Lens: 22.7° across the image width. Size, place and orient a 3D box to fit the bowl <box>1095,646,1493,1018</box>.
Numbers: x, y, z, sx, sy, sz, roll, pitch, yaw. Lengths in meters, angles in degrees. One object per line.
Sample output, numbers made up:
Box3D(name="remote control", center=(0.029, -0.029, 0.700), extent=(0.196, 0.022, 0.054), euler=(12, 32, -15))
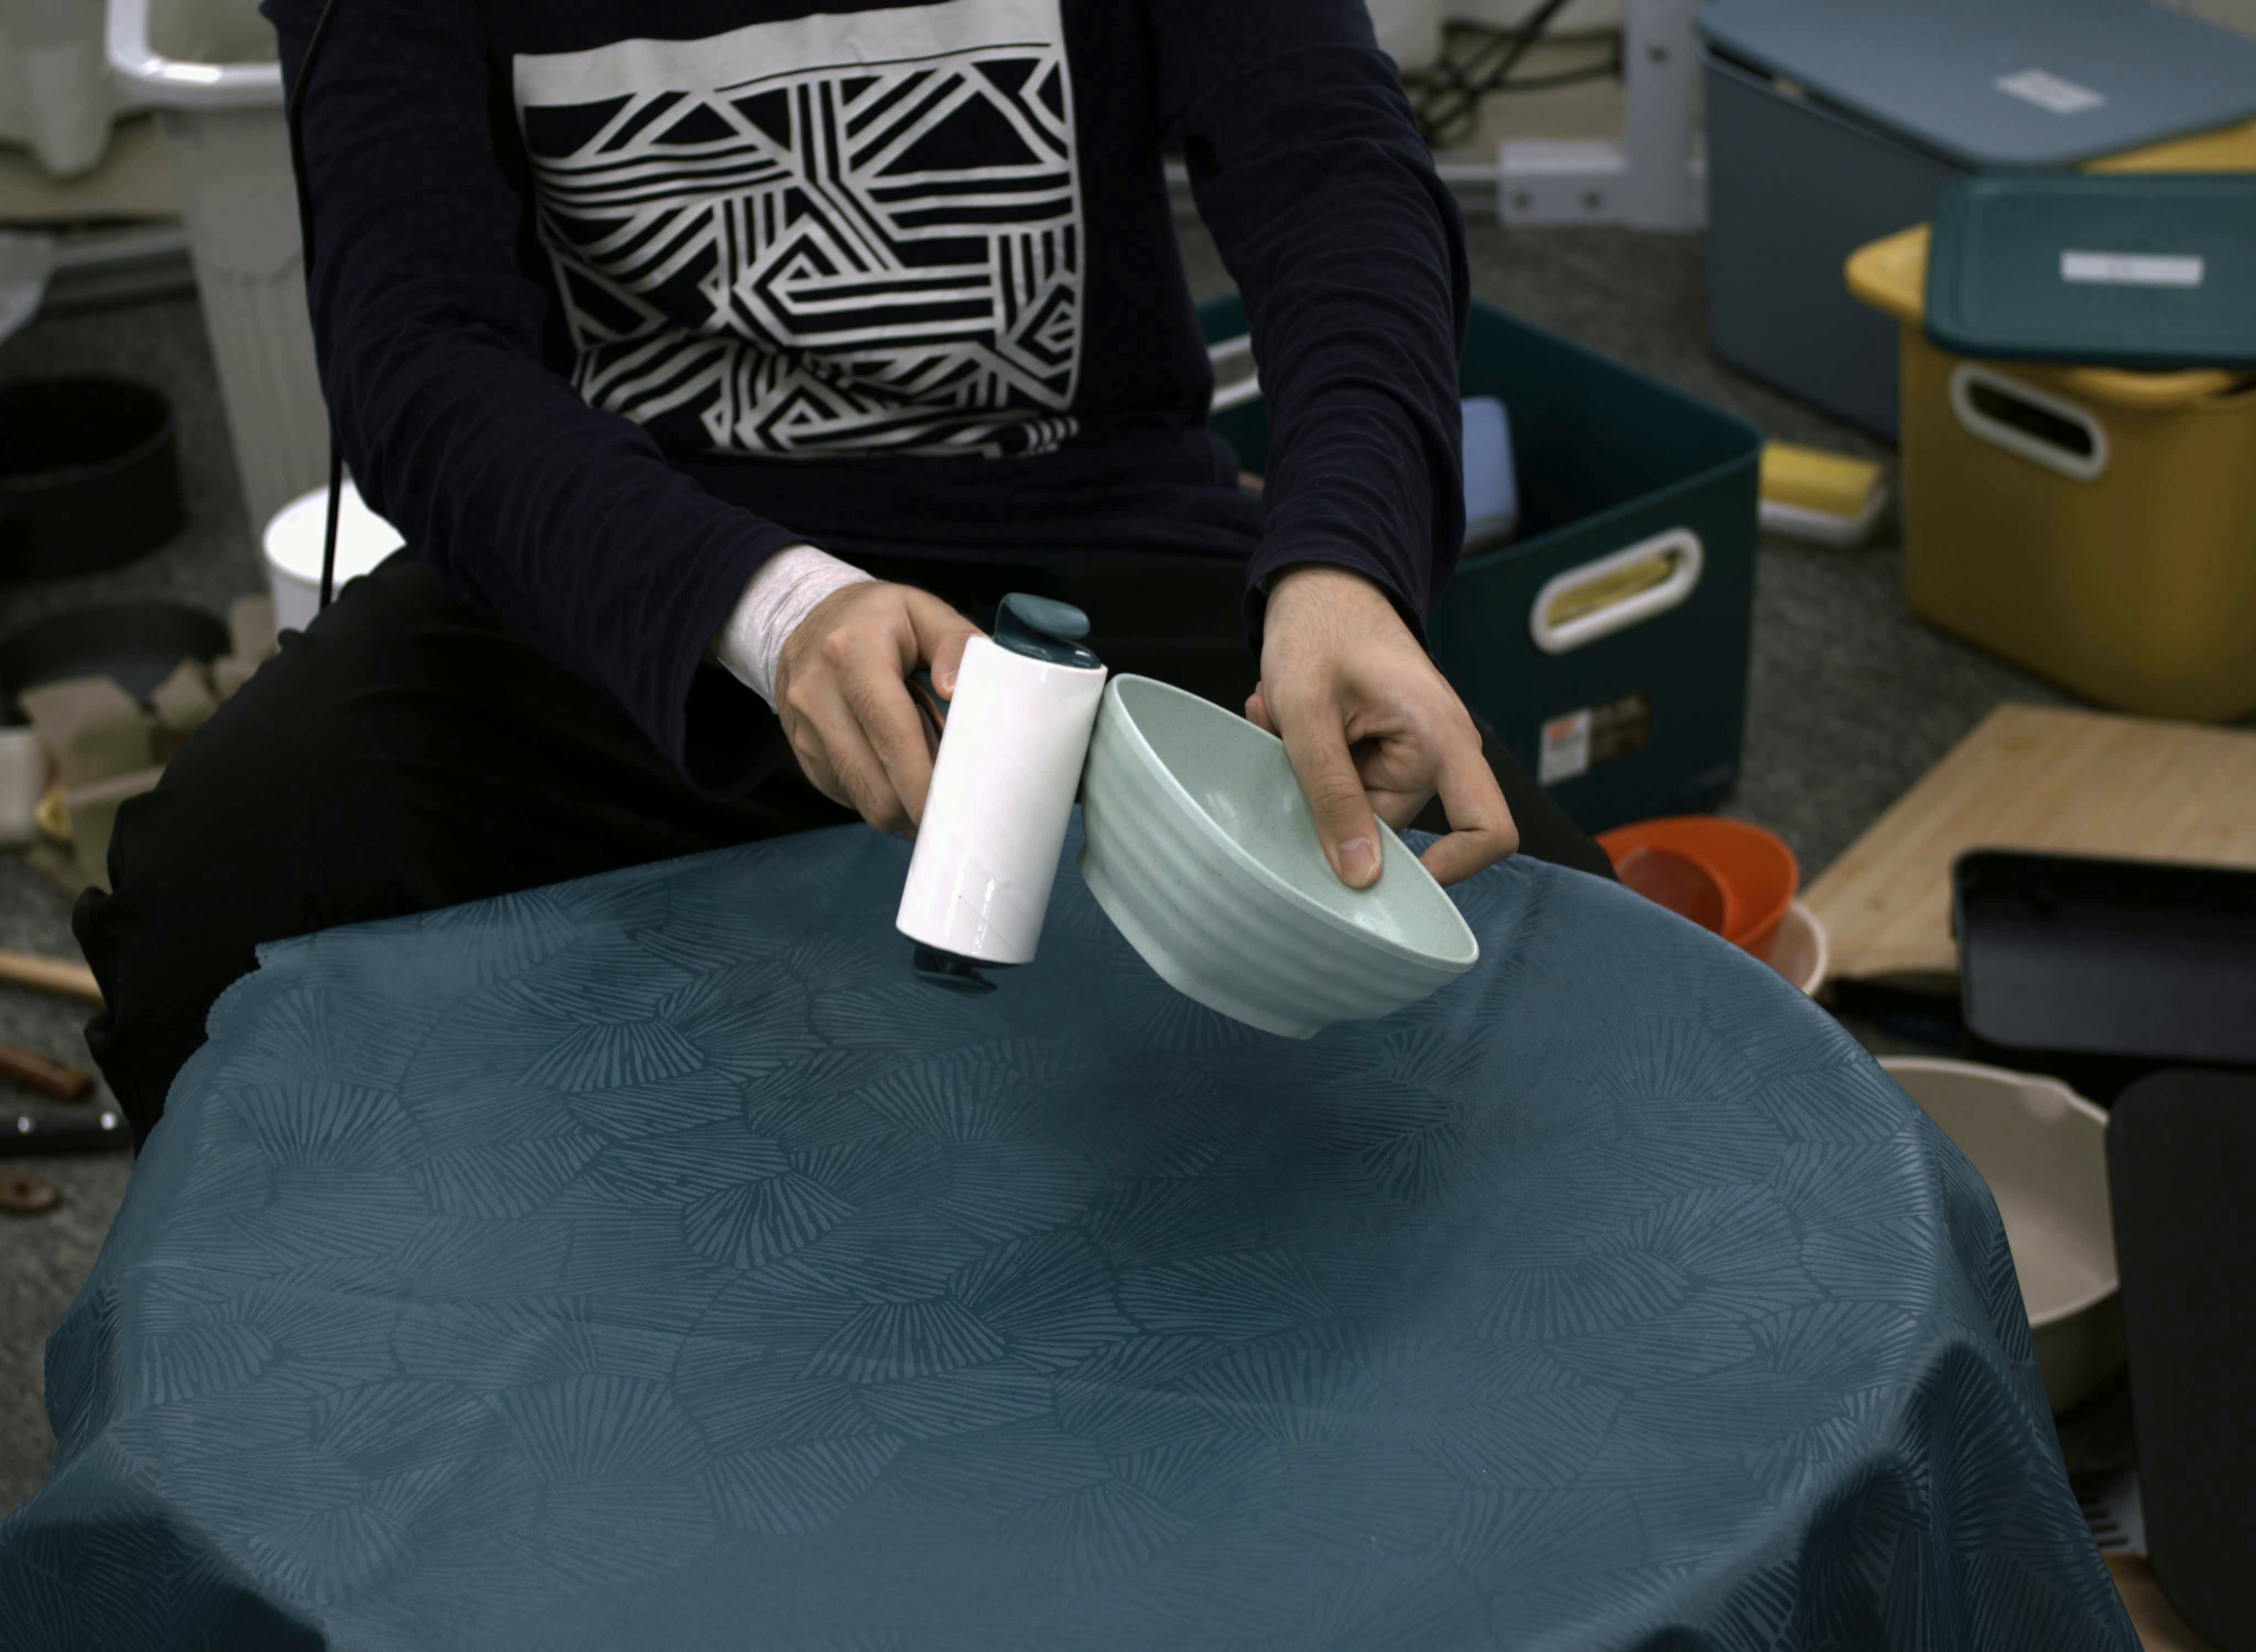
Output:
Box3D(name="bowl", center=(0.043, 0.012, 1.836), extent=(0.151, 0.058, 0.154), euler=(30, 27, -17))

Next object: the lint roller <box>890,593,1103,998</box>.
Box3D(name="lint roller", center=(-0.066, -0.024, 1.883), extent=(0.048, 0.134, 0.180), euler=(12, 7, -23))
